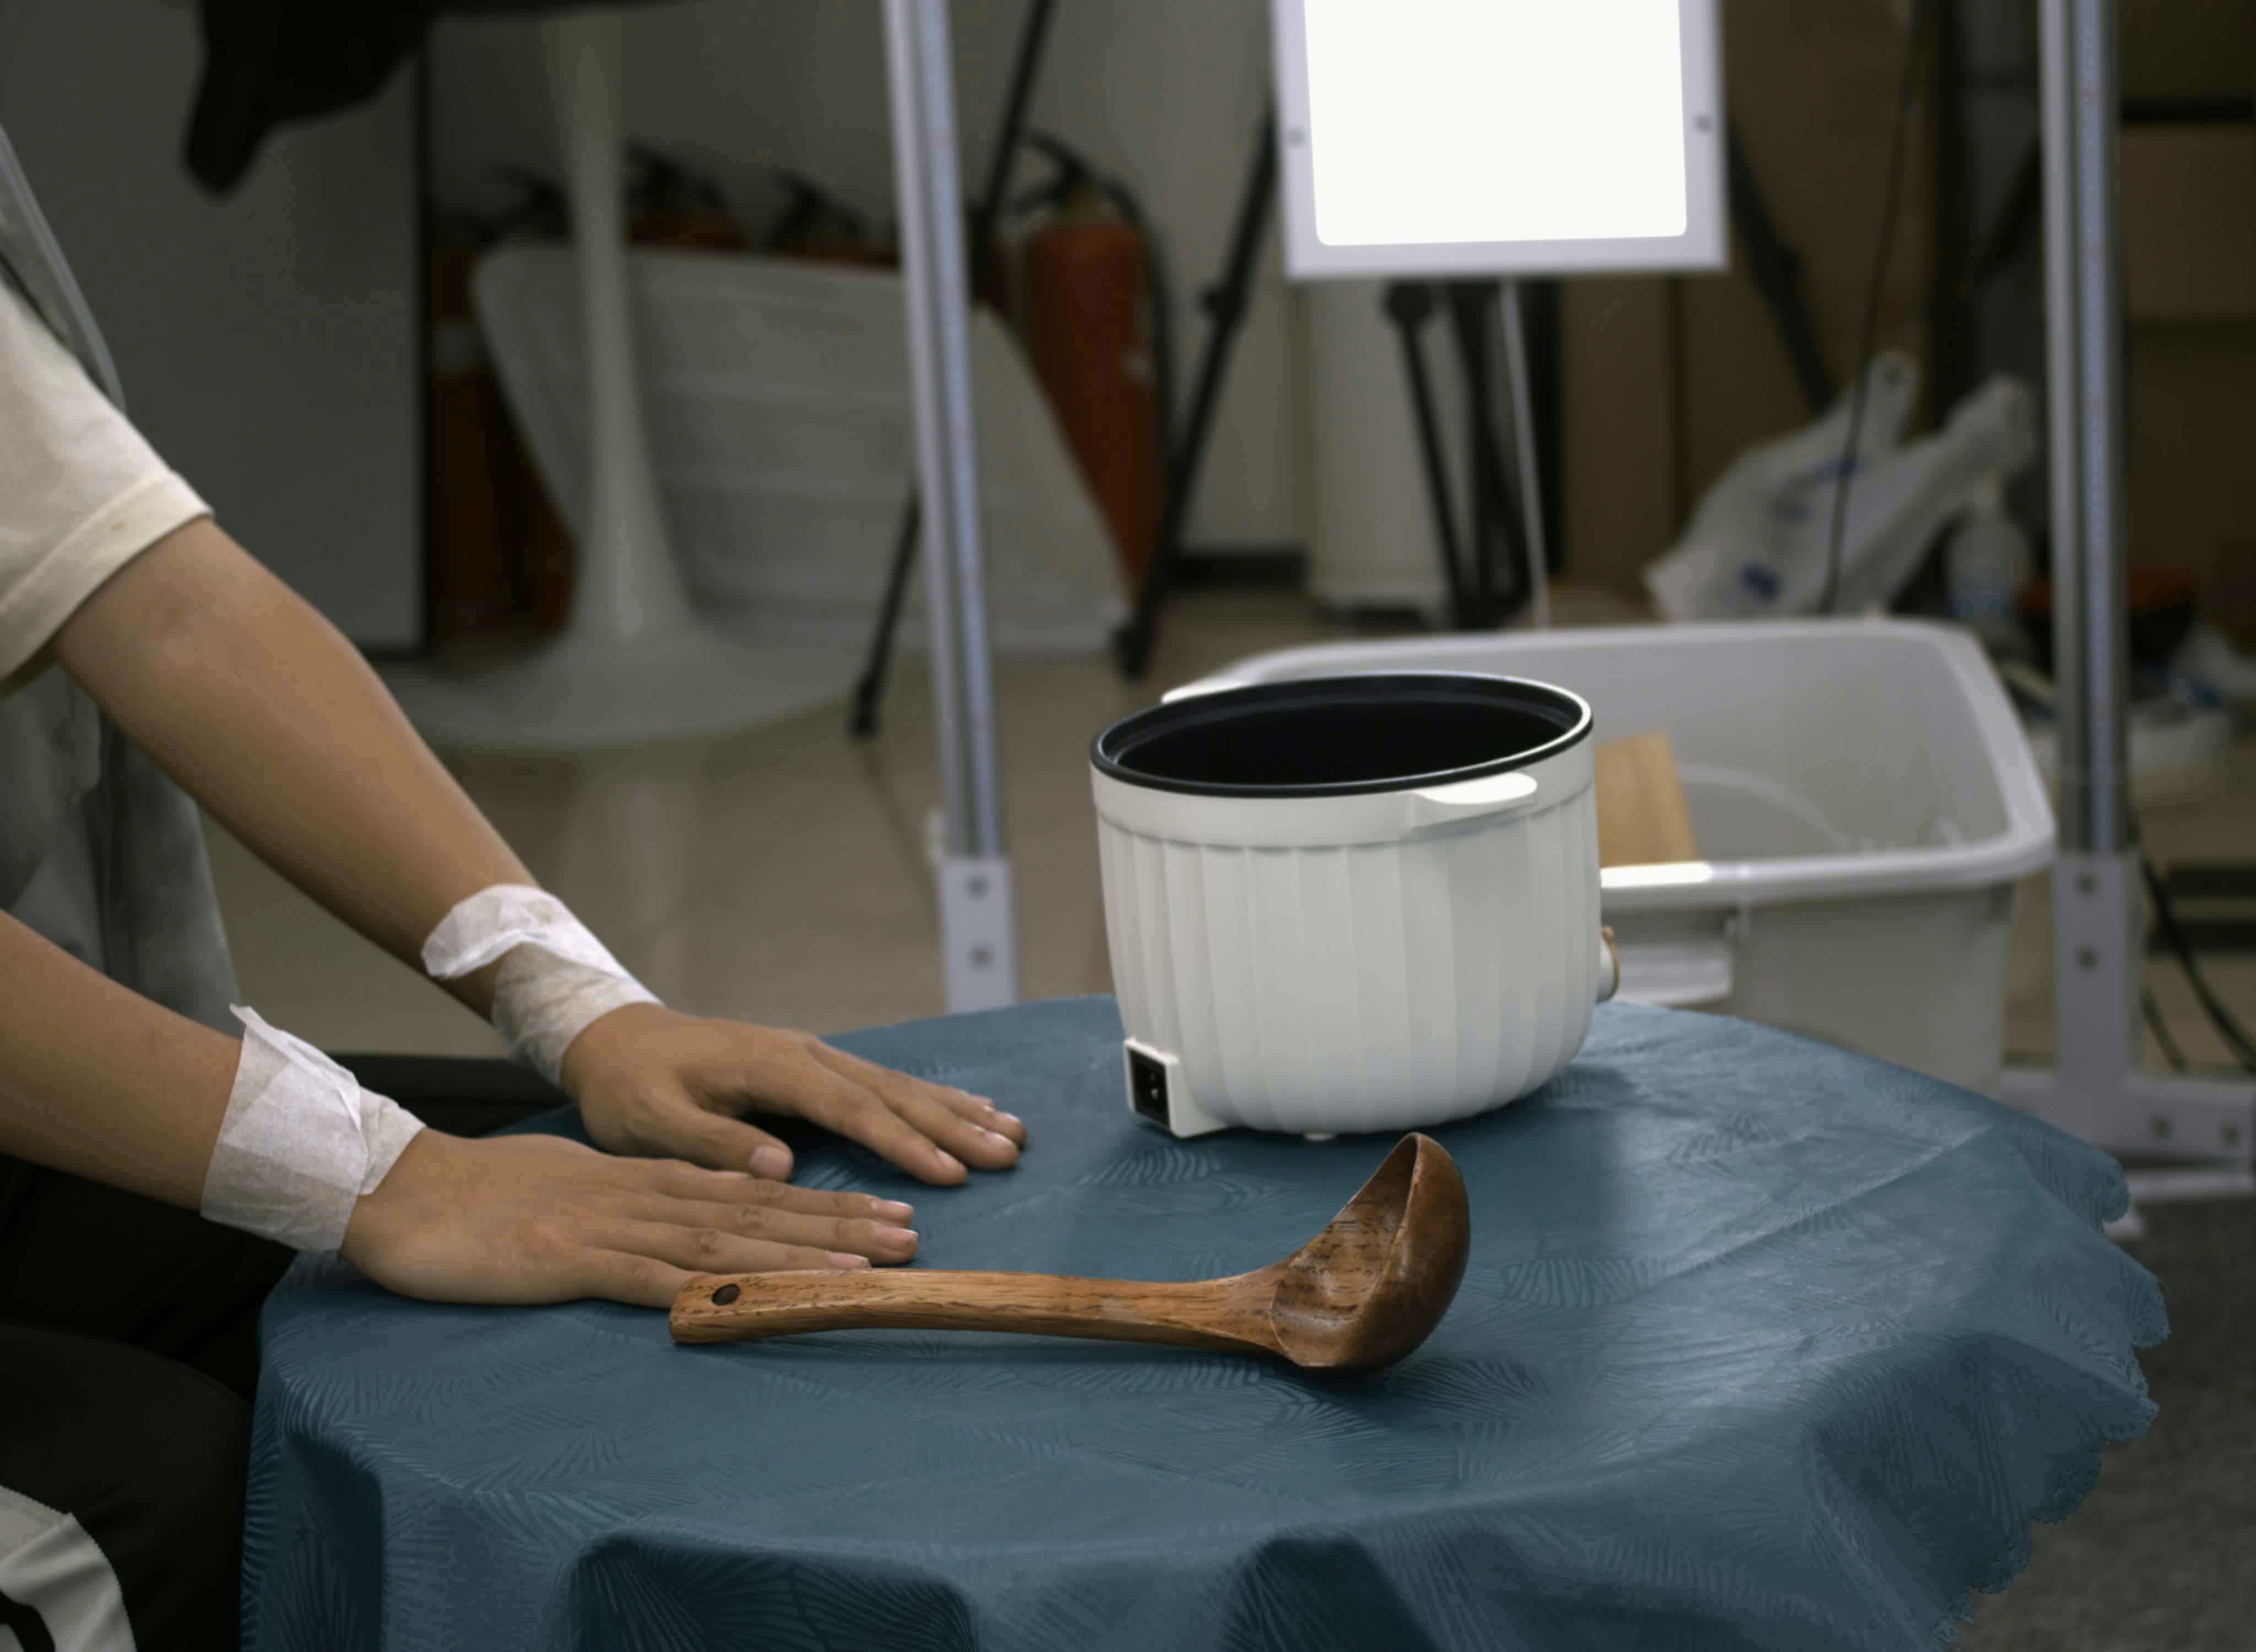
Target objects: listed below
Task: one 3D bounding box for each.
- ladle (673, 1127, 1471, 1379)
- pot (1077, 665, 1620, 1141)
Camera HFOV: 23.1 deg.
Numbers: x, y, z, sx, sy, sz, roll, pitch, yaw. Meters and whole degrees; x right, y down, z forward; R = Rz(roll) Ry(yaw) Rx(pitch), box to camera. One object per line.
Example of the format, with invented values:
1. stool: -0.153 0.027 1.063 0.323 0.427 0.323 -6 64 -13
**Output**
1. ladle: -0.024 0.132 1.724 0.278 0.076 0.081 1 39 21
2. pot: 0.085 0.027 1.978 0.187 0.143 0.244 -15 17 -22
